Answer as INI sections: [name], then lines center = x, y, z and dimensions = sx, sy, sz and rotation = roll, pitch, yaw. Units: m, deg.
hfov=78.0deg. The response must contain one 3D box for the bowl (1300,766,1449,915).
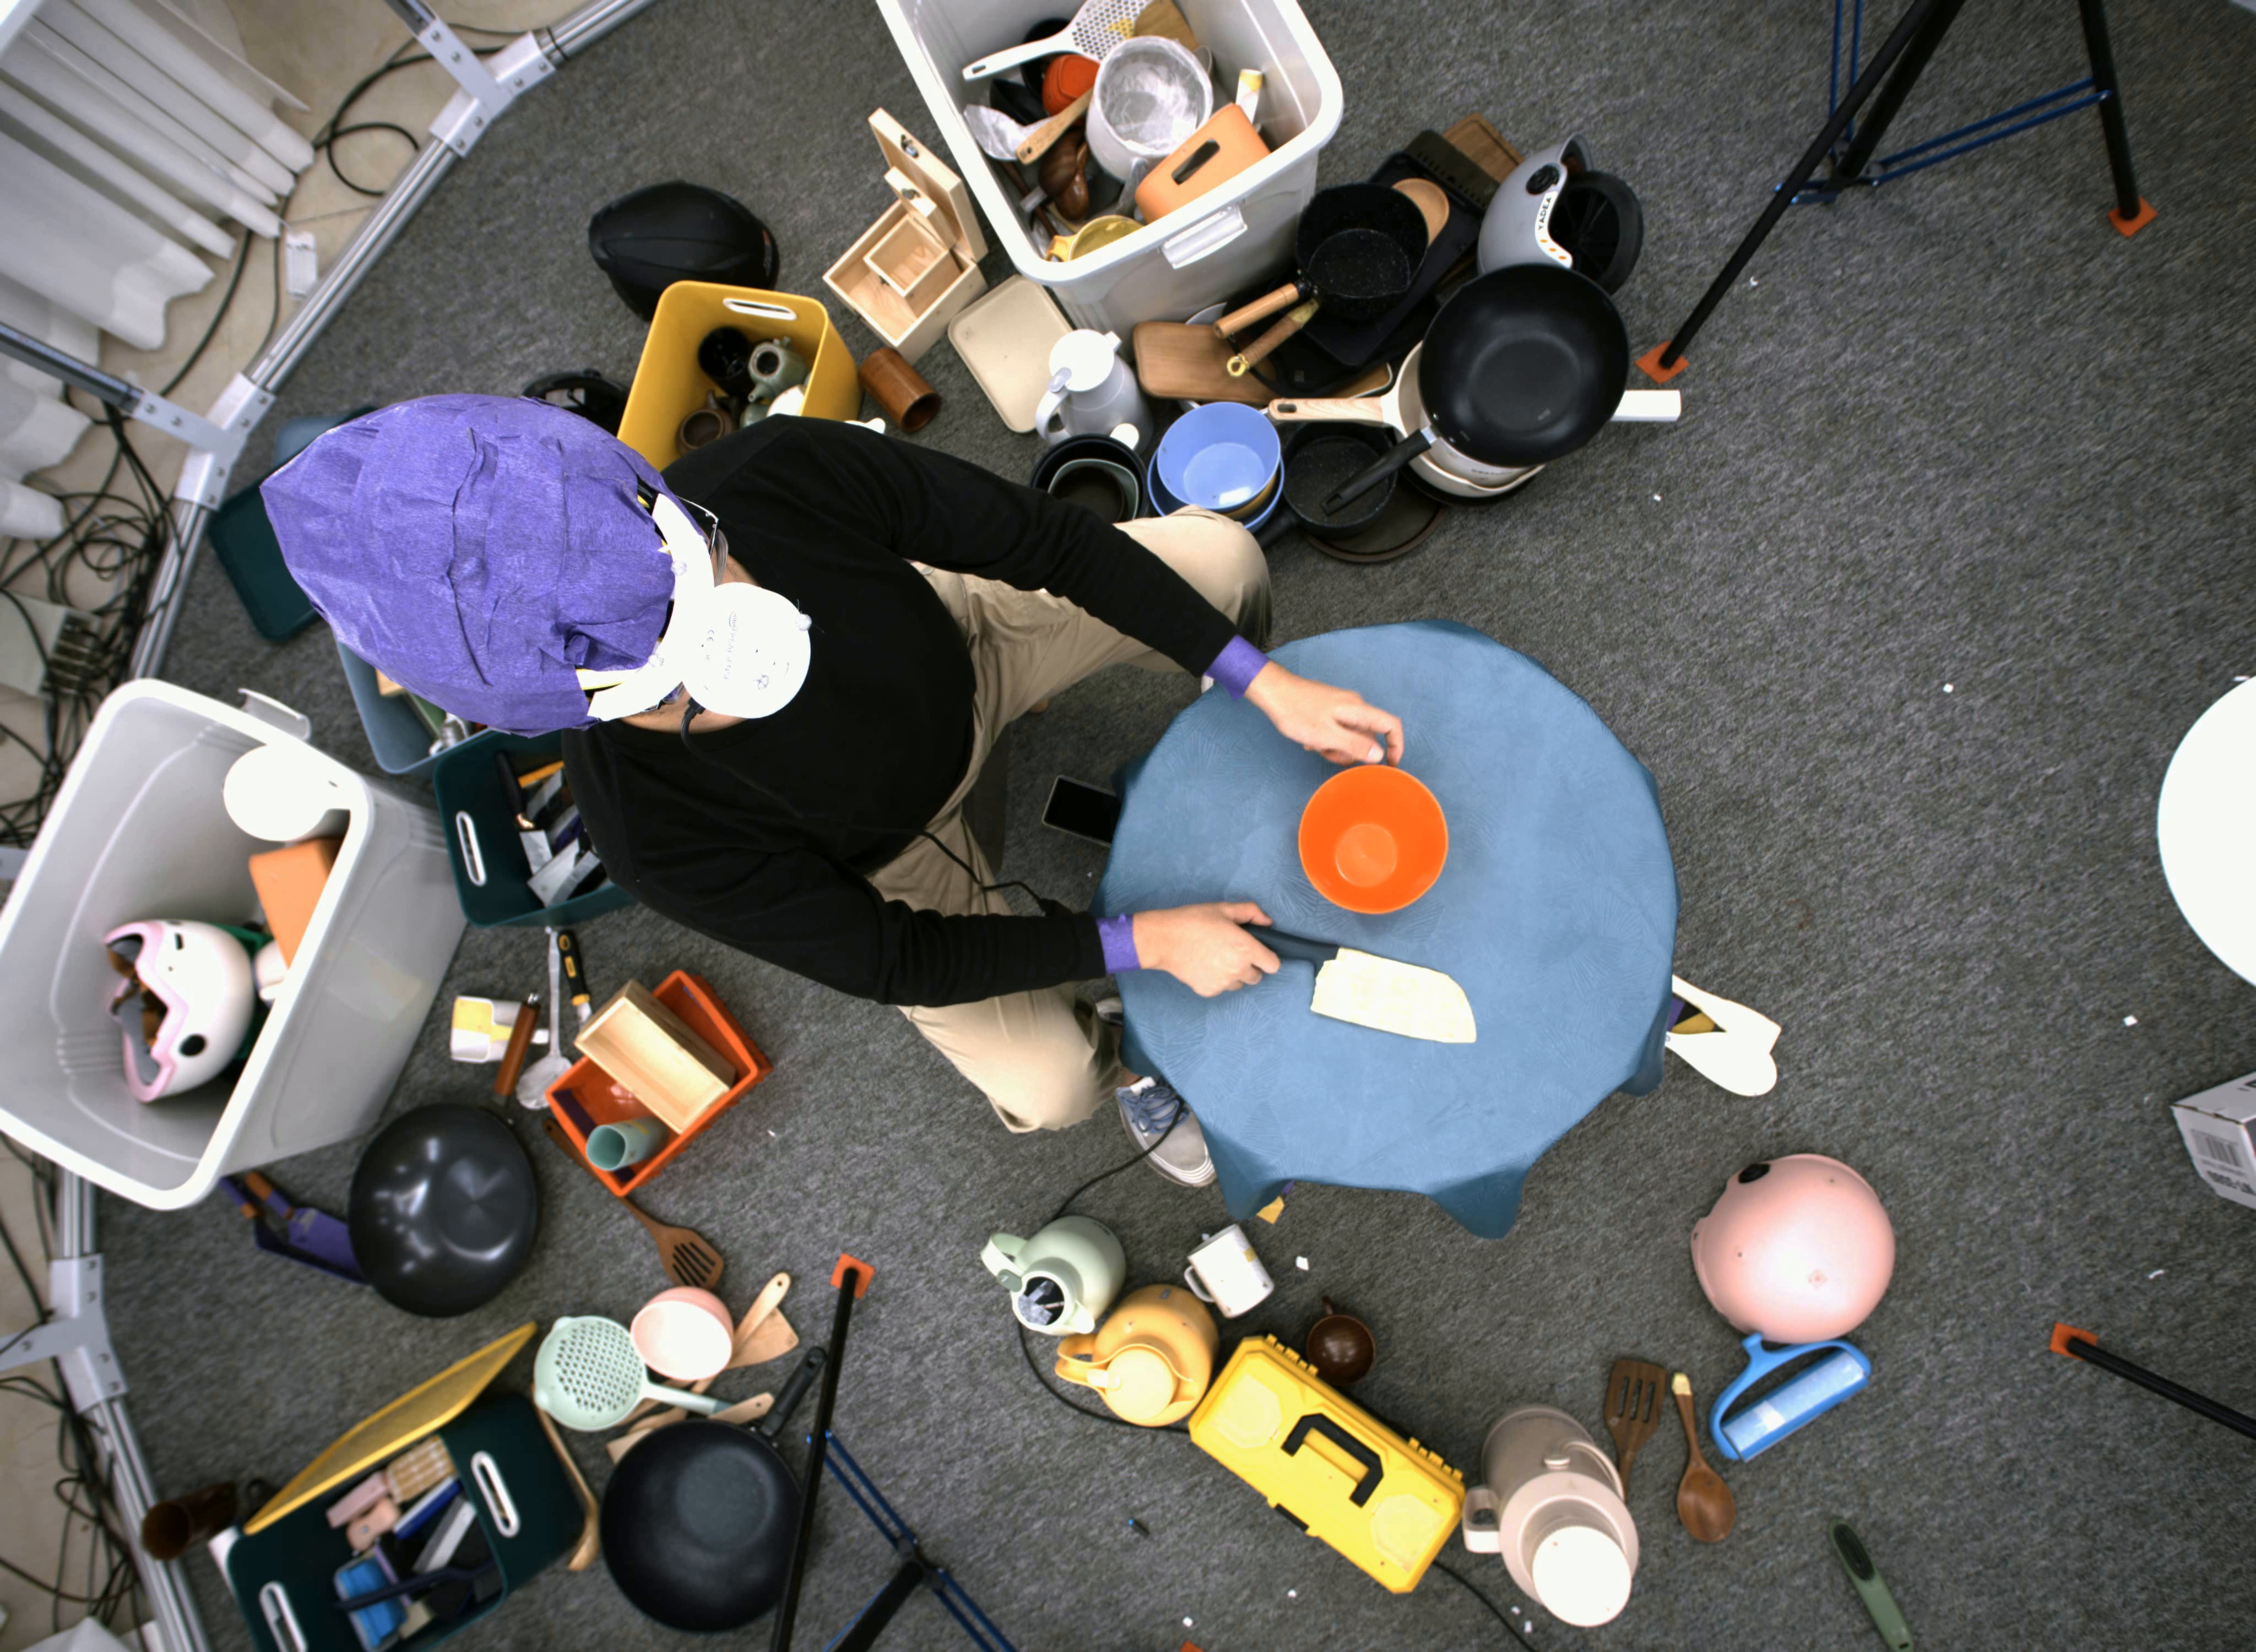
[bowl]
center = 0.252, 0.017, 1.416
dimensions = 0.148, 0.104, 0.147
rotation = -1, 87, 11

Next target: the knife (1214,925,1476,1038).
[knife]
center = 0.226, 0.161, 1.458
dimensions = 0.290, 0.027, 0.081
rotation = 16, 87, 10
